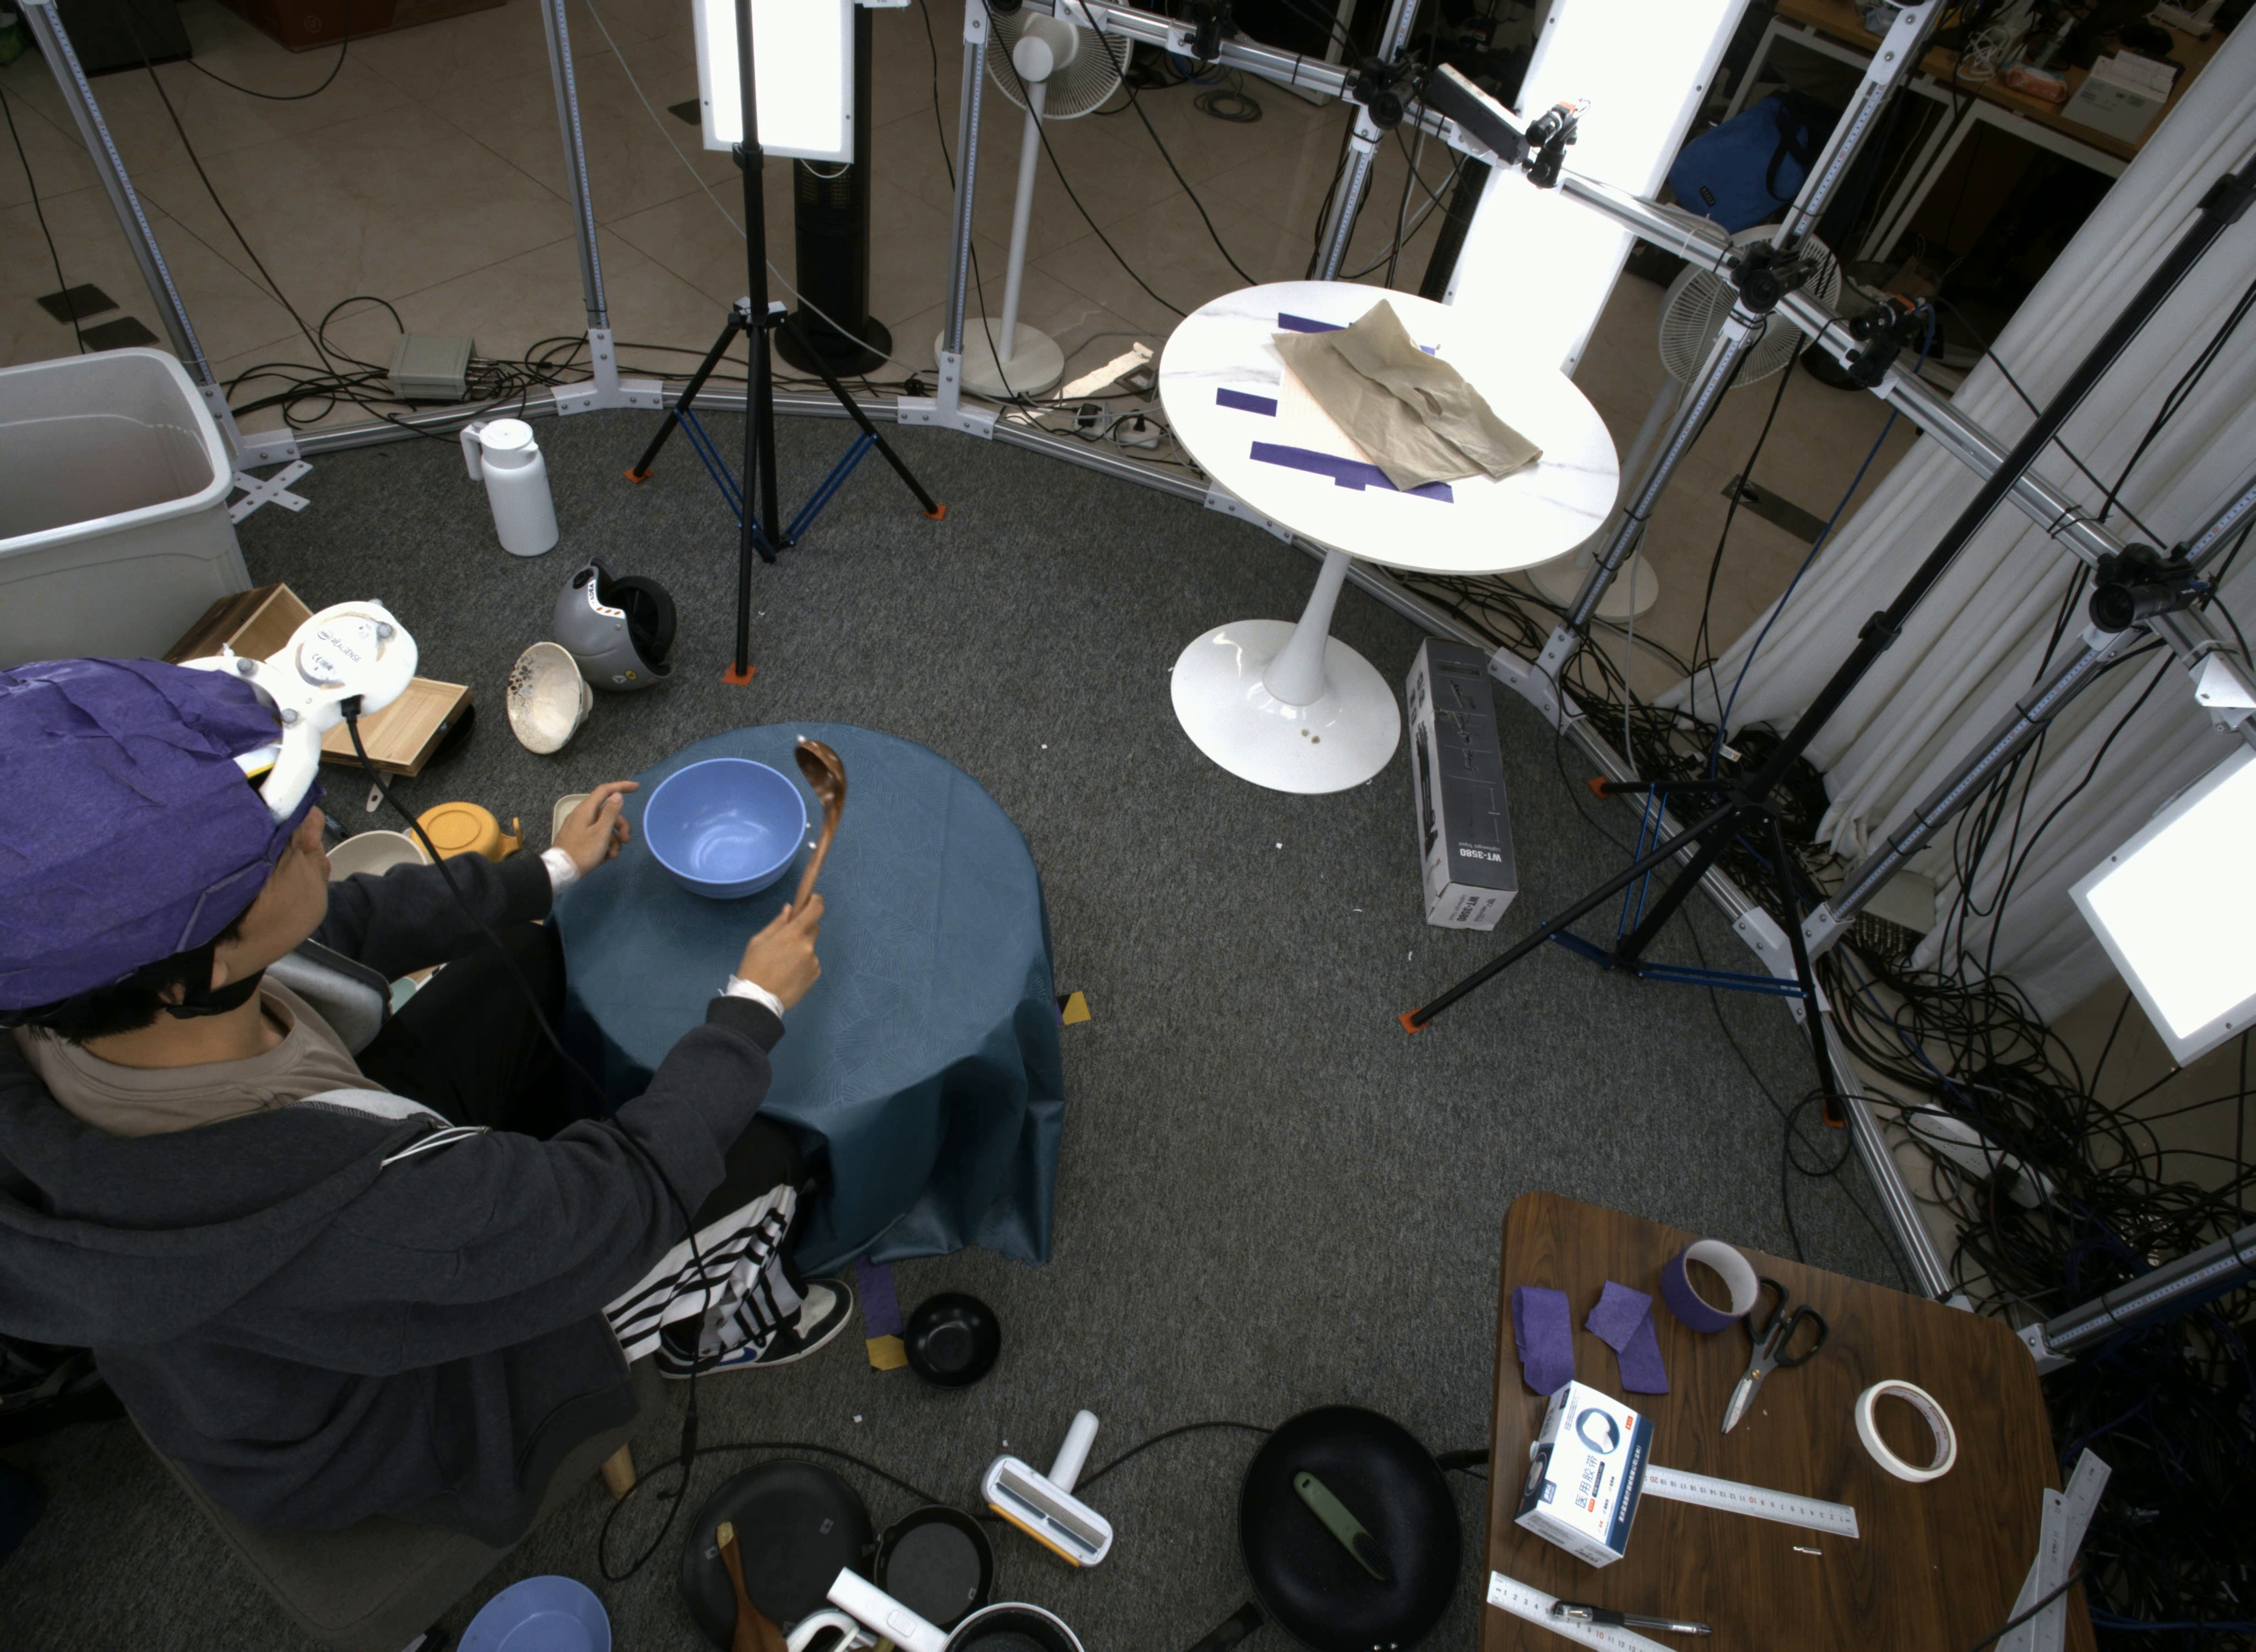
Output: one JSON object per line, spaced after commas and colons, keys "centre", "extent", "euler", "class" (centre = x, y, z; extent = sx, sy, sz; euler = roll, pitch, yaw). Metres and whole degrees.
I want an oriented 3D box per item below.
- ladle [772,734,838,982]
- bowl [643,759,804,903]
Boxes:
{"centre": [-0.386, 0.031, 1.461], "extent": [0.078, 0.080, 0.274], "euler": [20, 73, -25], "class": "ladle"}
{"centre": [-0.506, 0.021, 1.632], "extent": [0.196, 0.097, 0.193], "euler": [7, 54, -8], "class": "bowl"}
